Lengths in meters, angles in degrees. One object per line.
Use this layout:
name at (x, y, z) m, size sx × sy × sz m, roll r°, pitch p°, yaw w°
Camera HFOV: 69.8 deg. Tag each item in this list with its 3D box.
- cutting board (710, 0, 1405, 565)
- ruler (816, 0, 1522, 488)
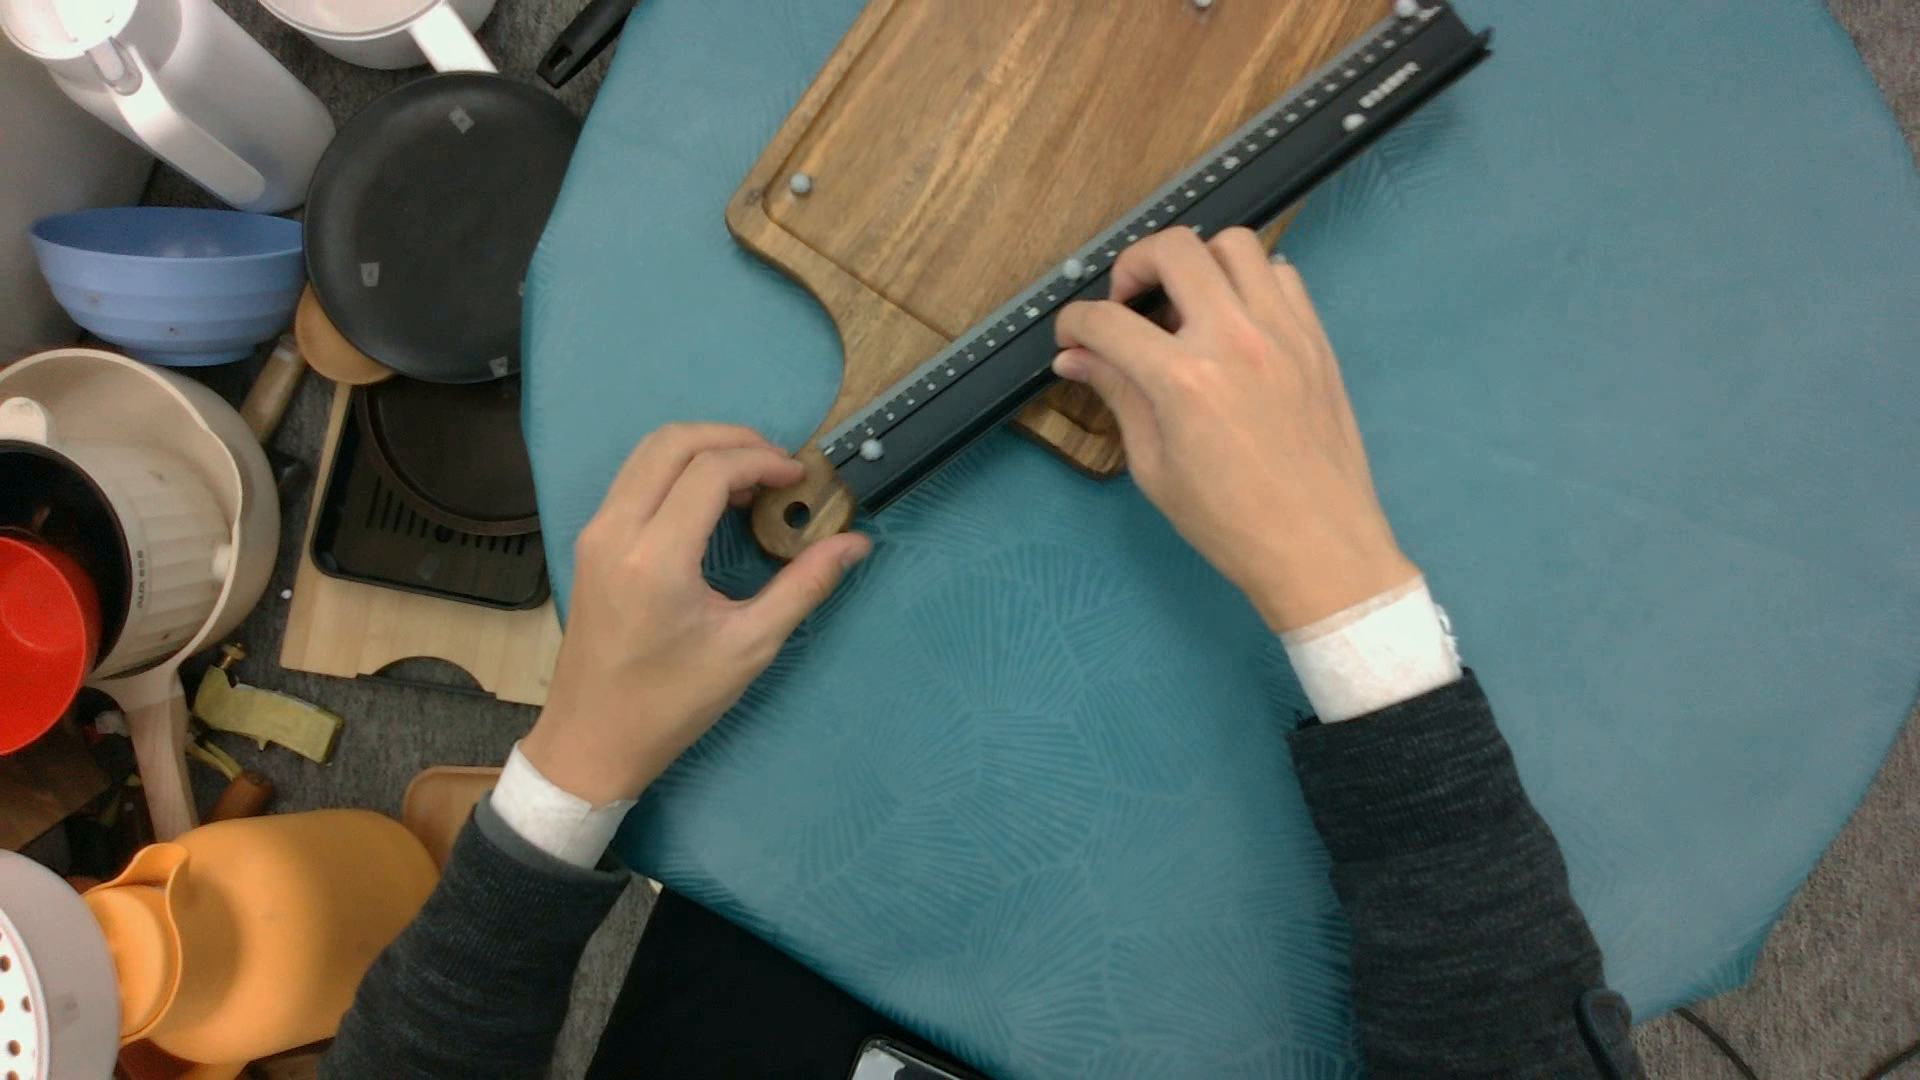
cutting board at (0.016, -0.141, 0.575) m, size 0.201 × 0.023 × 0.352 m, roll 33°, pitch 84°, yaw 4°
ruler at (0.083, -0.121, 0.534) m, size 0.312 × 0.017 × 0.039 m, roll -34°, pitch 86°, yaw -3°
